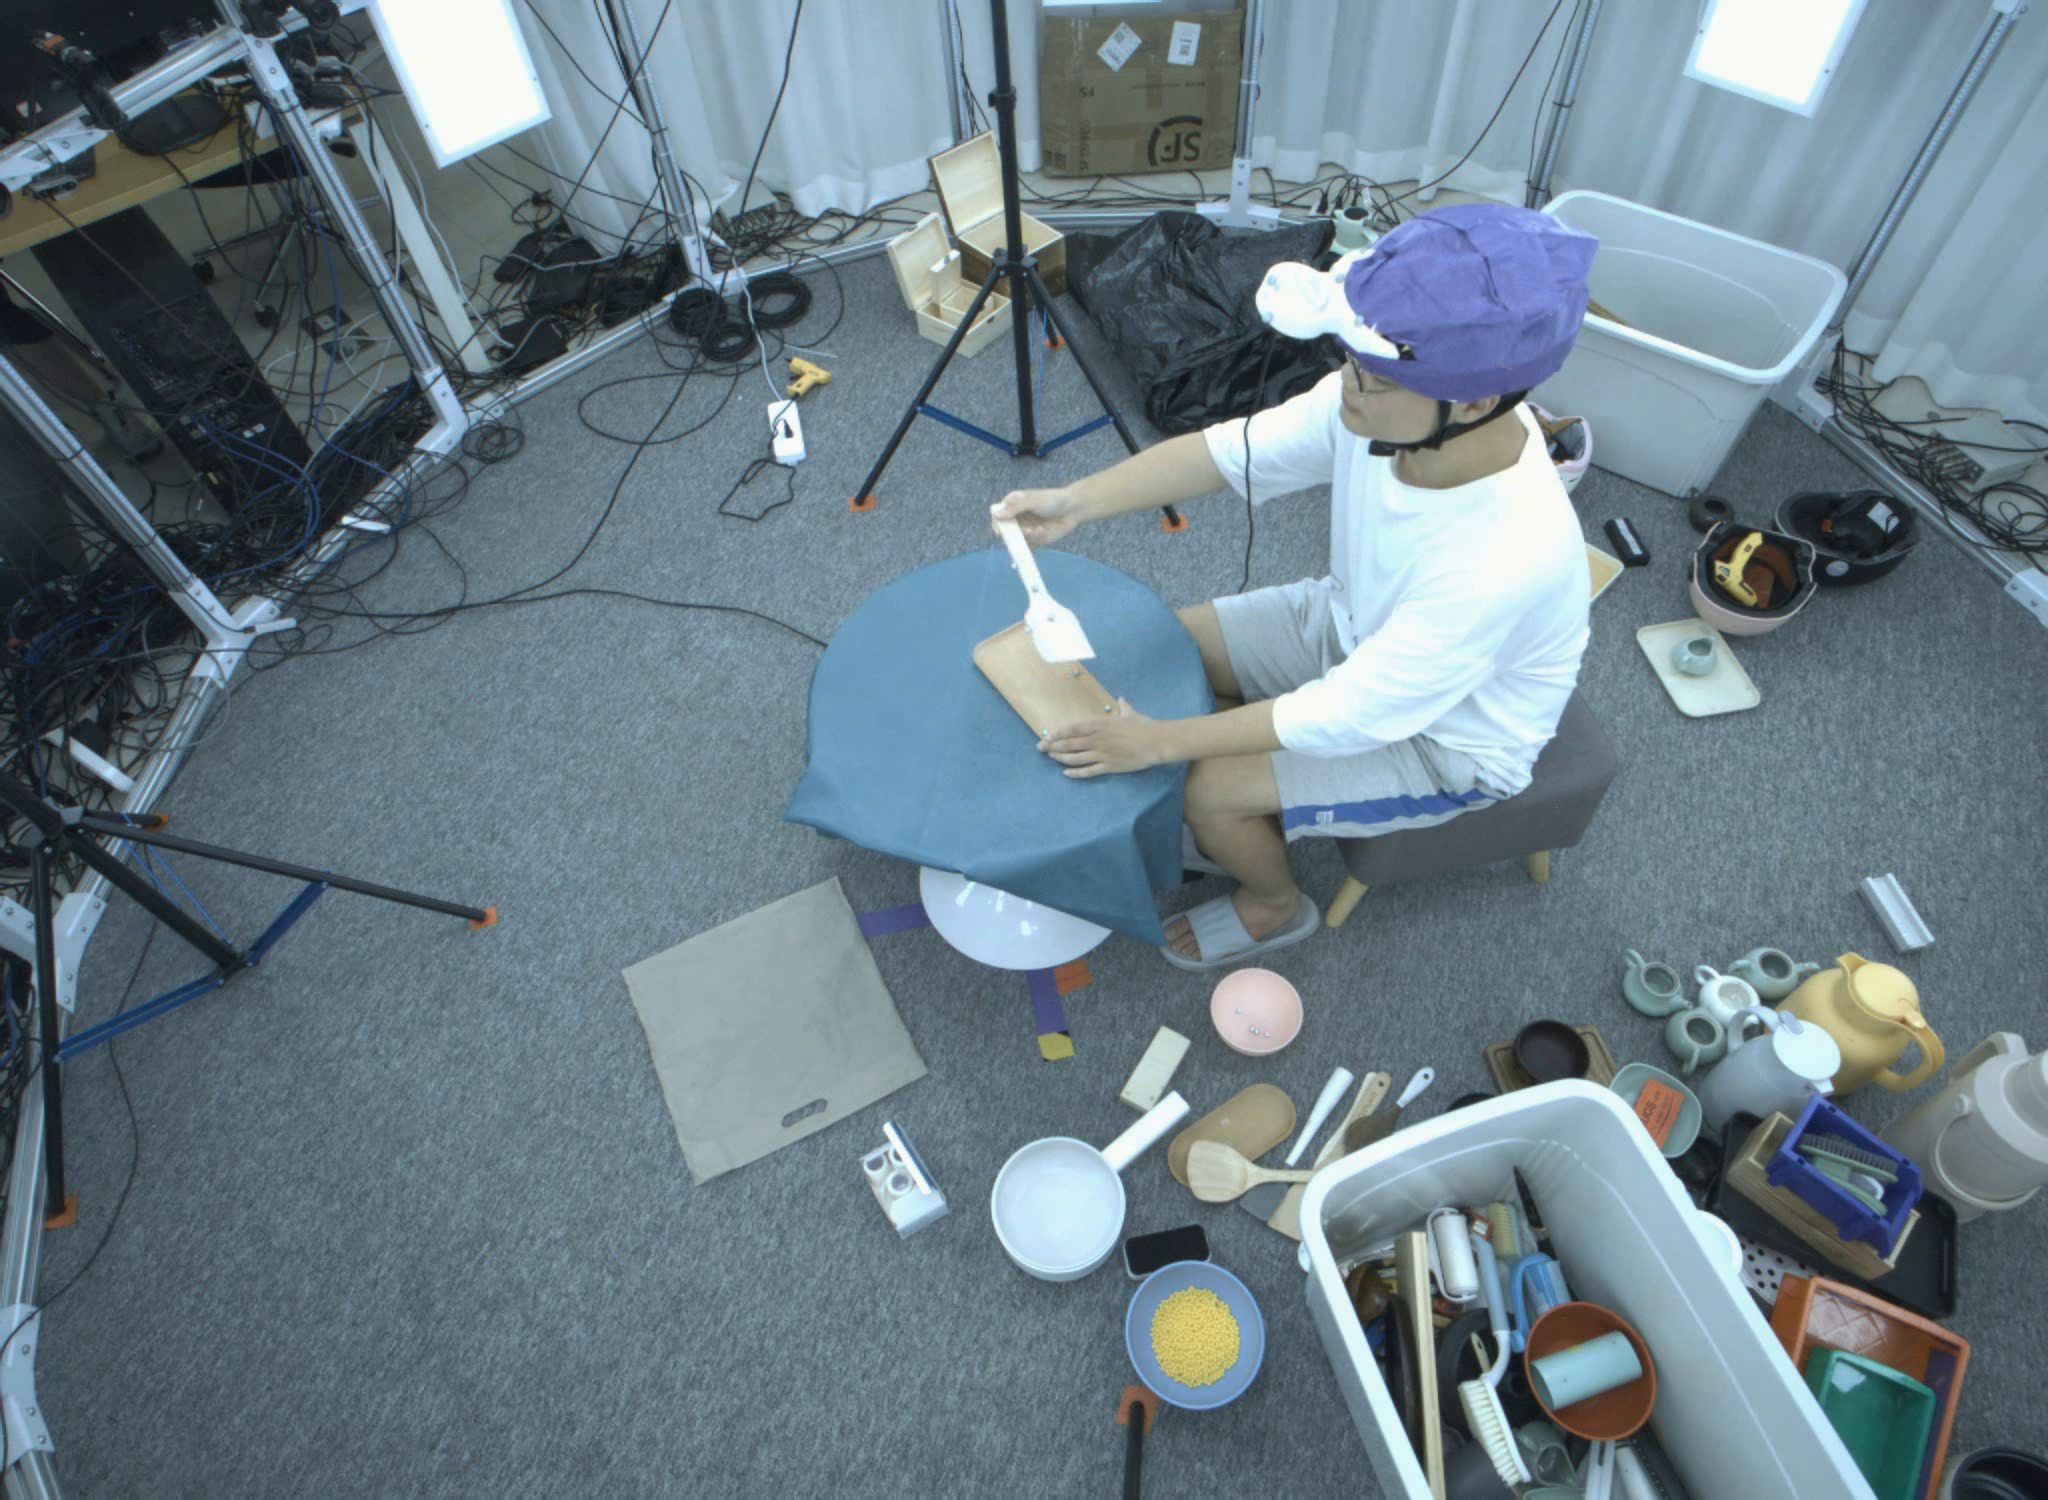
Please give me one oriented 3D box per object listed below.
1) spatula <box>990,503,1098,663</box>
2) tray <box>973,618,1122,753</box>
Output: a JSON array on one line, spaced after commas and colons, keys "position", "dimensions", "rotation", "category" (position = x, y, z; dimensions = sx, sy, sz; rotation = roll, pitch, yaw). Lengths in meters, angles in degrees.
[{"position": [0.012, -0.226, 1.624], "dimensions": [0.073, 0.010, 0.288], "rotation": [-10, 58, -24], "category": "spatula"}, {"position": [0.033, -0.099, 1.846], "dimensions": [0.132, 0.023, 0.246], "rotation": [-27, 57, -20], "category": "tray"}]
